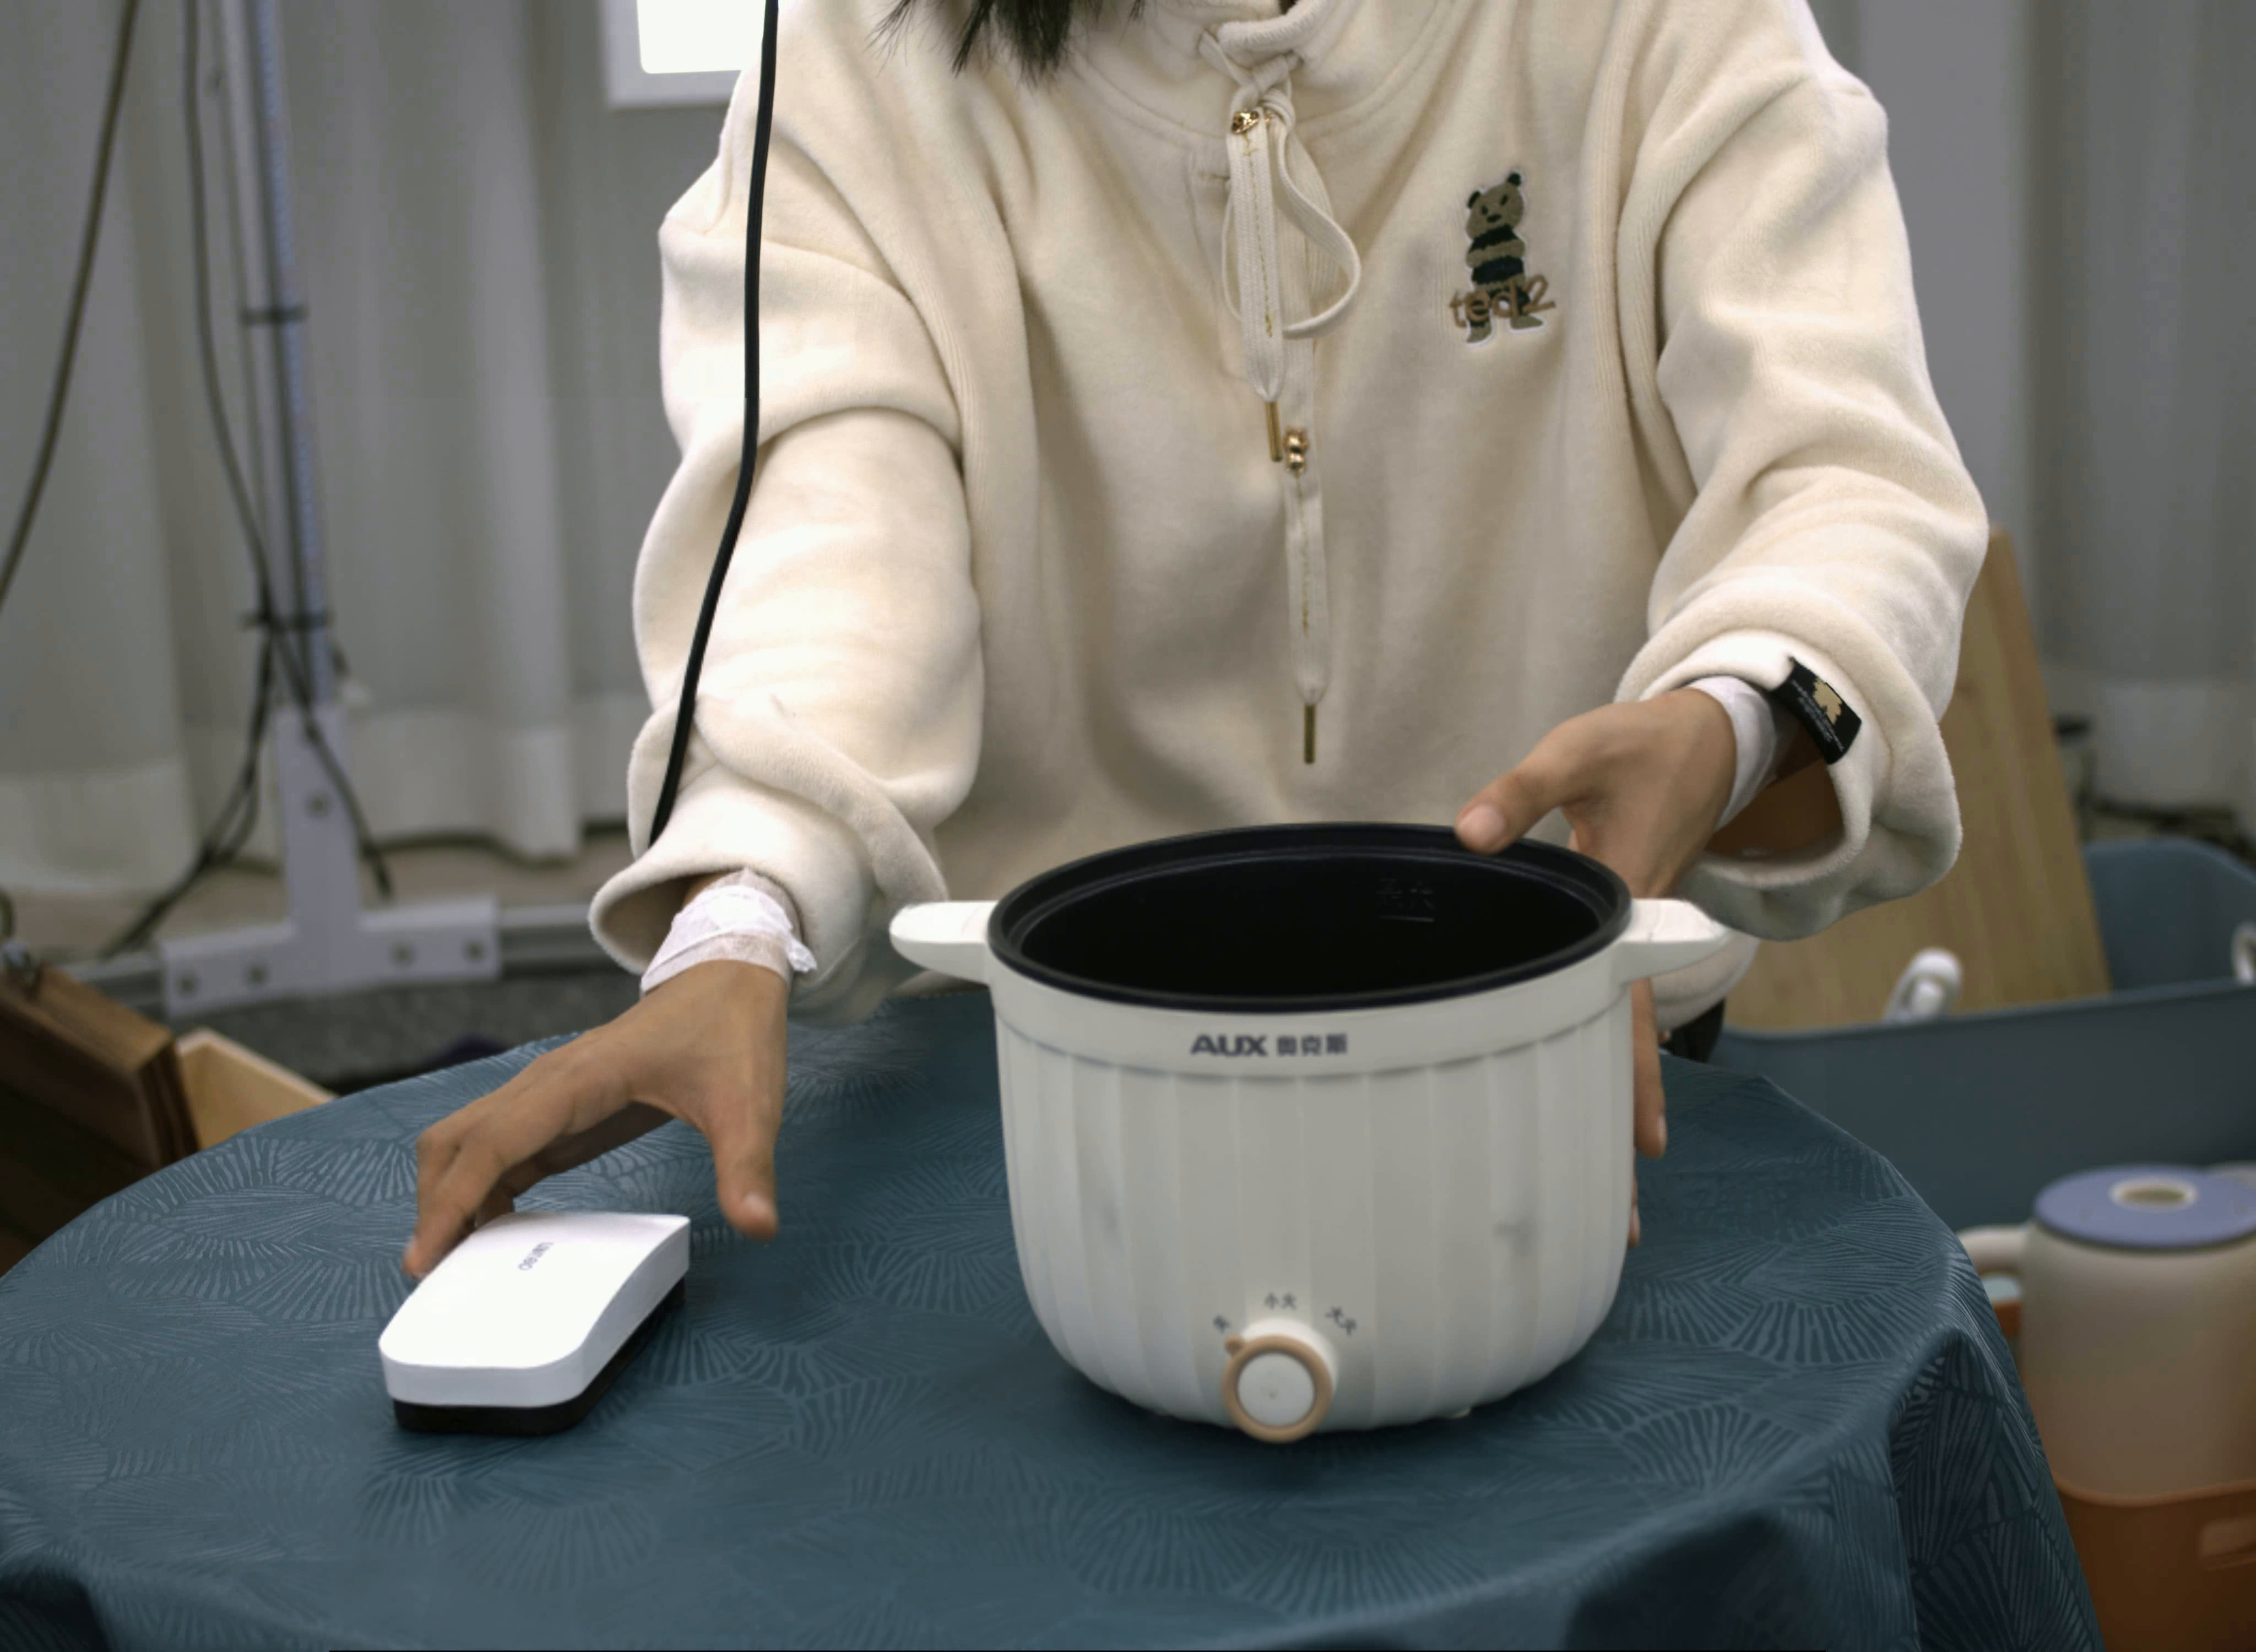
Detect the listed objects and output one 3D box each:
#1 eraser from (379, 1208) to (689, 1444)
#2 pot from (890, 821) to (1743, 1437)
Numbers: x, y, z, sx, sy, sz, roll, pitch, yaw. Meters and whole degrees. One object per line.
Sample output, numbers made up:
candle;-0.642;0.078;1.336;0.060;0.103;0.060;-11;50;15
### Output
eraser;-0.170;0.141;1.590;0.063;0.034;0.132;2;16;12
pot;0.054;0.087;1.537;0.240;0.142;0.191;-2;11;9
